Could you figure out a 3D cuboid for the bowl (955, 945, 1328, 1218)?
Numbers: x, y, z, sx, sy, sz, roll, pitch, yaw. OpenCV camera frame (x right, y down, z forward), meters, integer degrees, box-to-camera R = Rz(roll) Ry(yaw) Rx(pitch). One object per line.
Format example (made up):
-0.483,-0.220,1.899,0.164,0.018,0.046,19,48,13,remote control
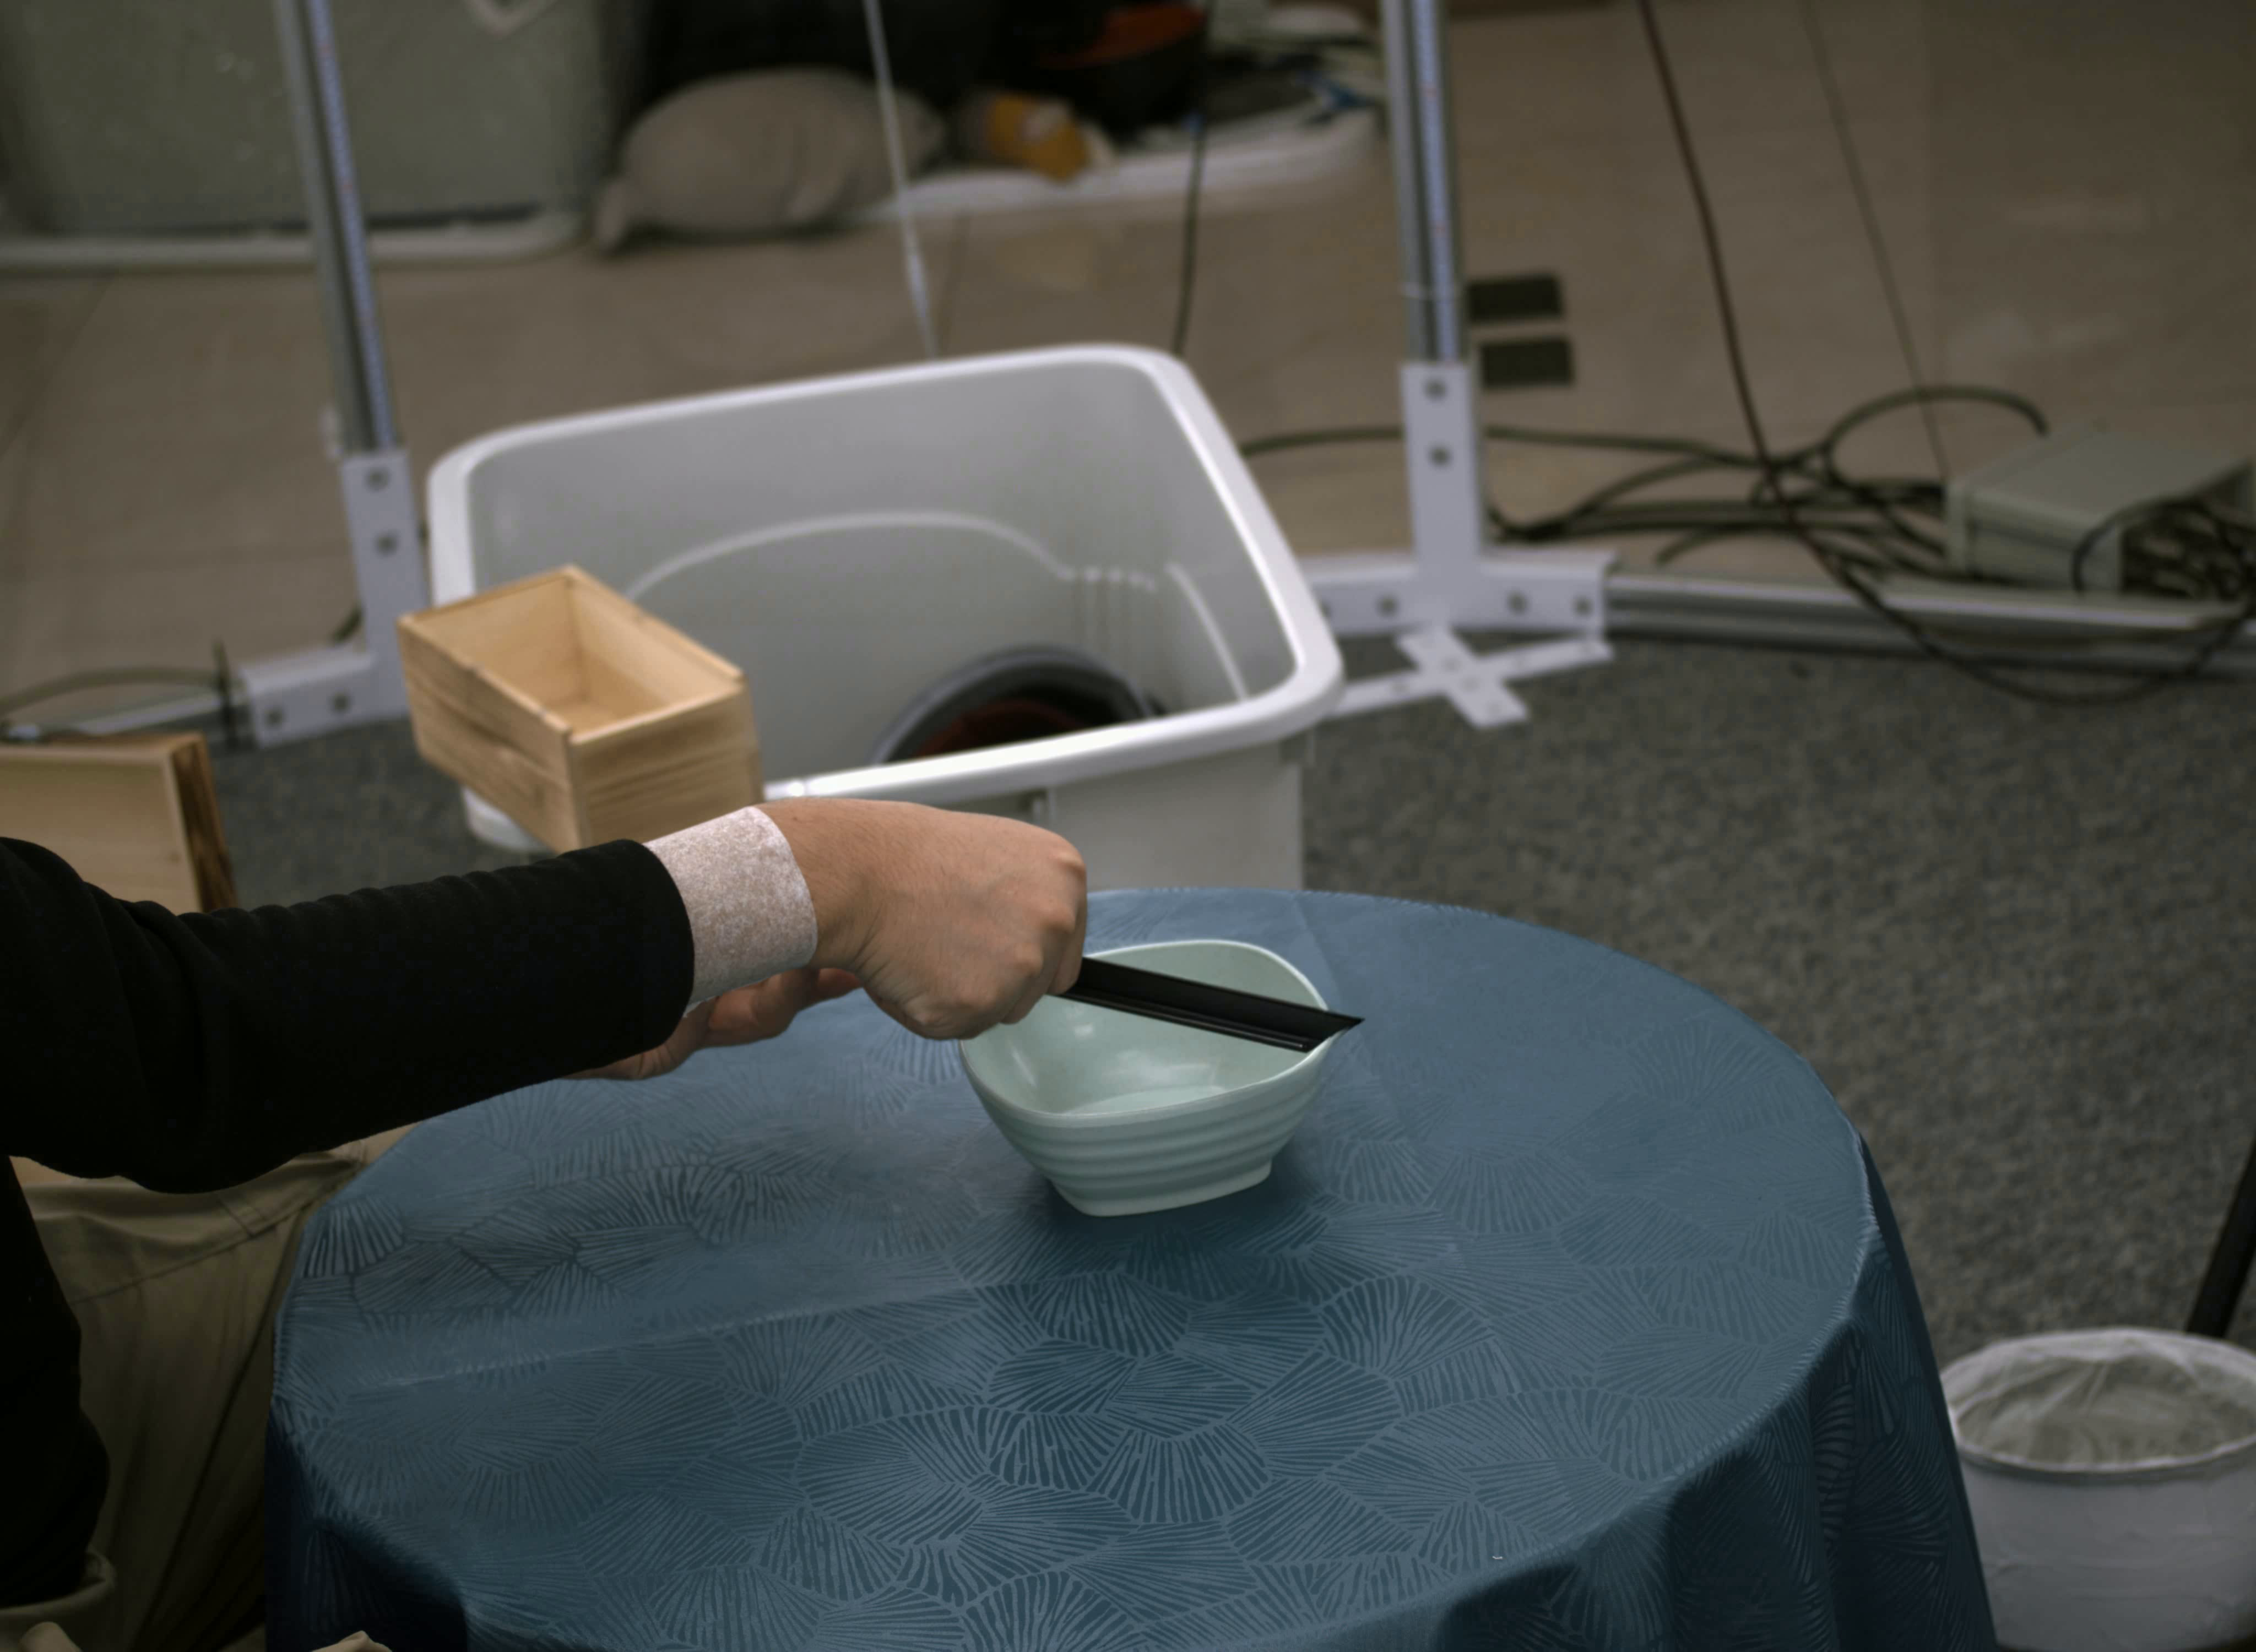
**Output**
0.006,0.103,2.158,0.151,0.059,0.149,-3,26,2,bowl

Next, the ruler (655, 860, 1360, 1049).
-0.049,0.043,2.128,0.311,0.017,0.039,12,21,35,ruler
